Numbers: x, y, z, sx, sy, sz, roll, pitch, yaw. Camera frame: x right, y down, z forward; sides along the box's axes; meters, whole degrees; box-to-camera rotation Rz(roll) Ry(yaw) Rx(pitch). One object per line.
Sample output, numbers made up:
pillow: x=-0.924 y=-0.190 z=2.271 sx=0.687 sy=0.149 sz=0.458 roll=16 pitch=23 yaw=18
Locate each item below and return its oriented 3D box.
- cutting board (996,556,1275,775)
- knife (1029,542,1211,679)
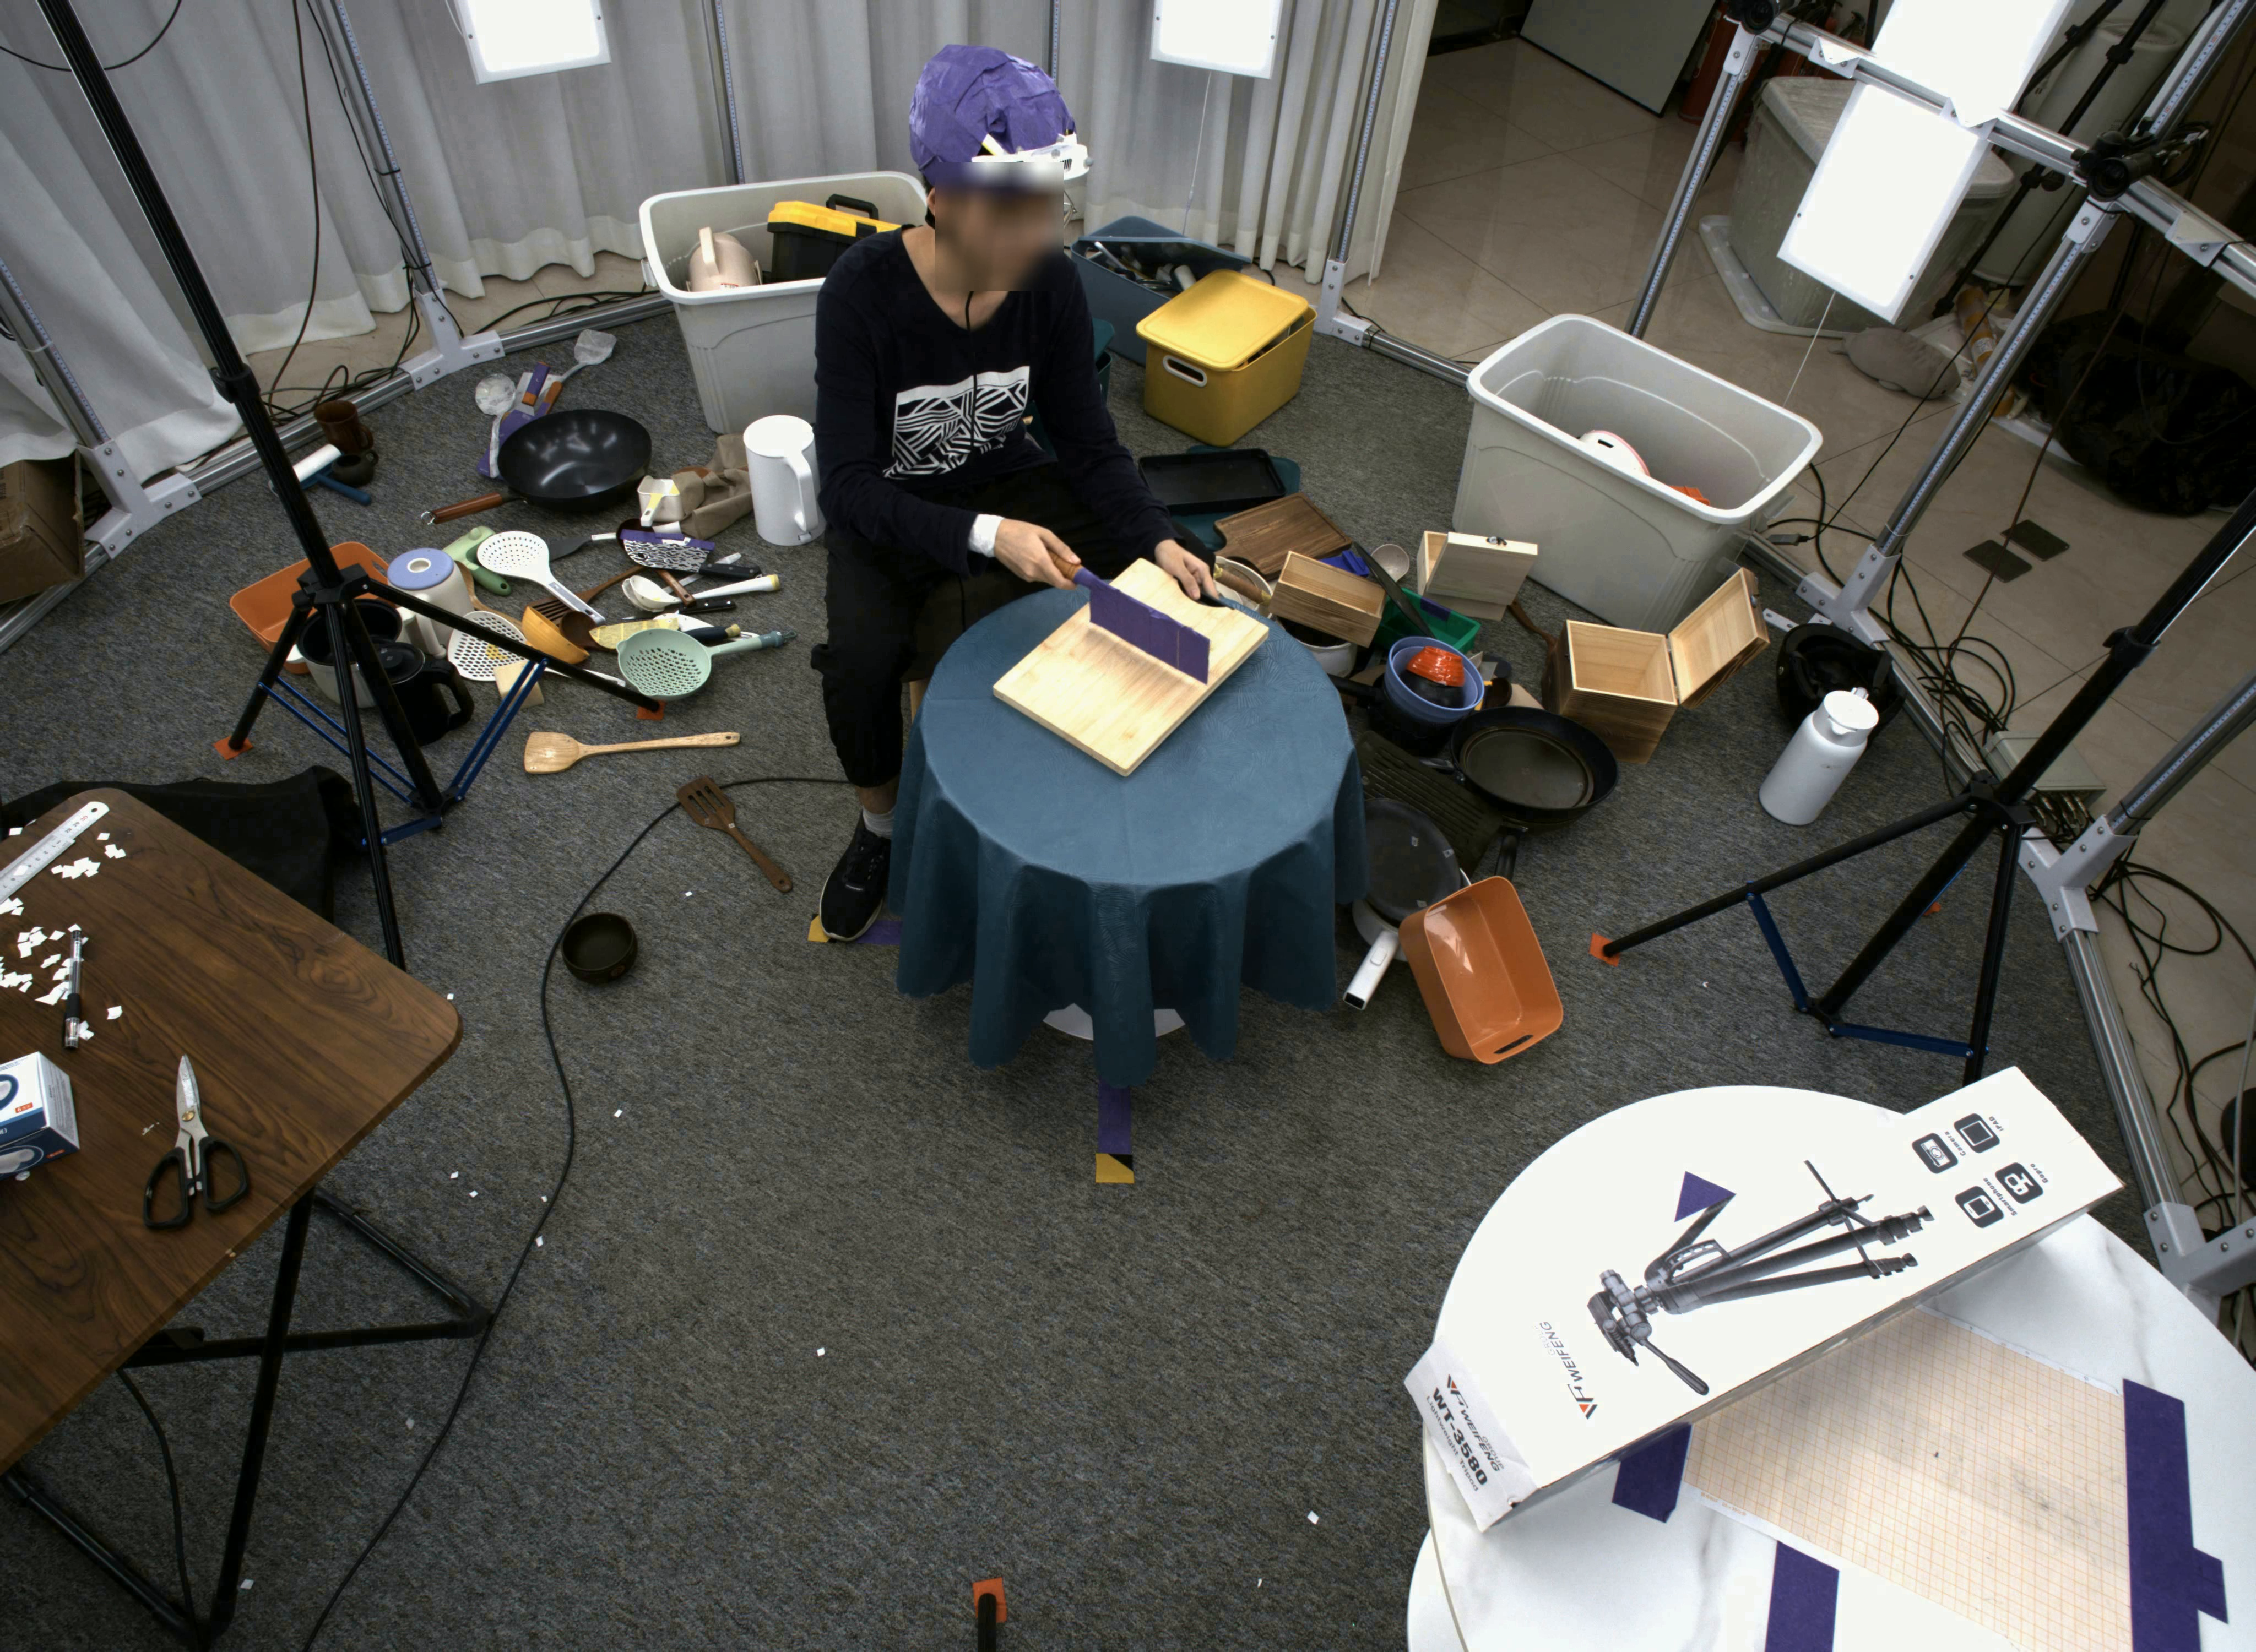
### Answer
cutting board: x=0.013 y=-0.241 z=1.848 sx=0.253 sy=0.023 sz=0.353 roll=32 pitch=59 yaw=22
knife: x=-0.013 y=-0.299 z=1.815 sx=0.319 sy=0.101 sz=0.032 roll=33 pitch=58 yaw=24
